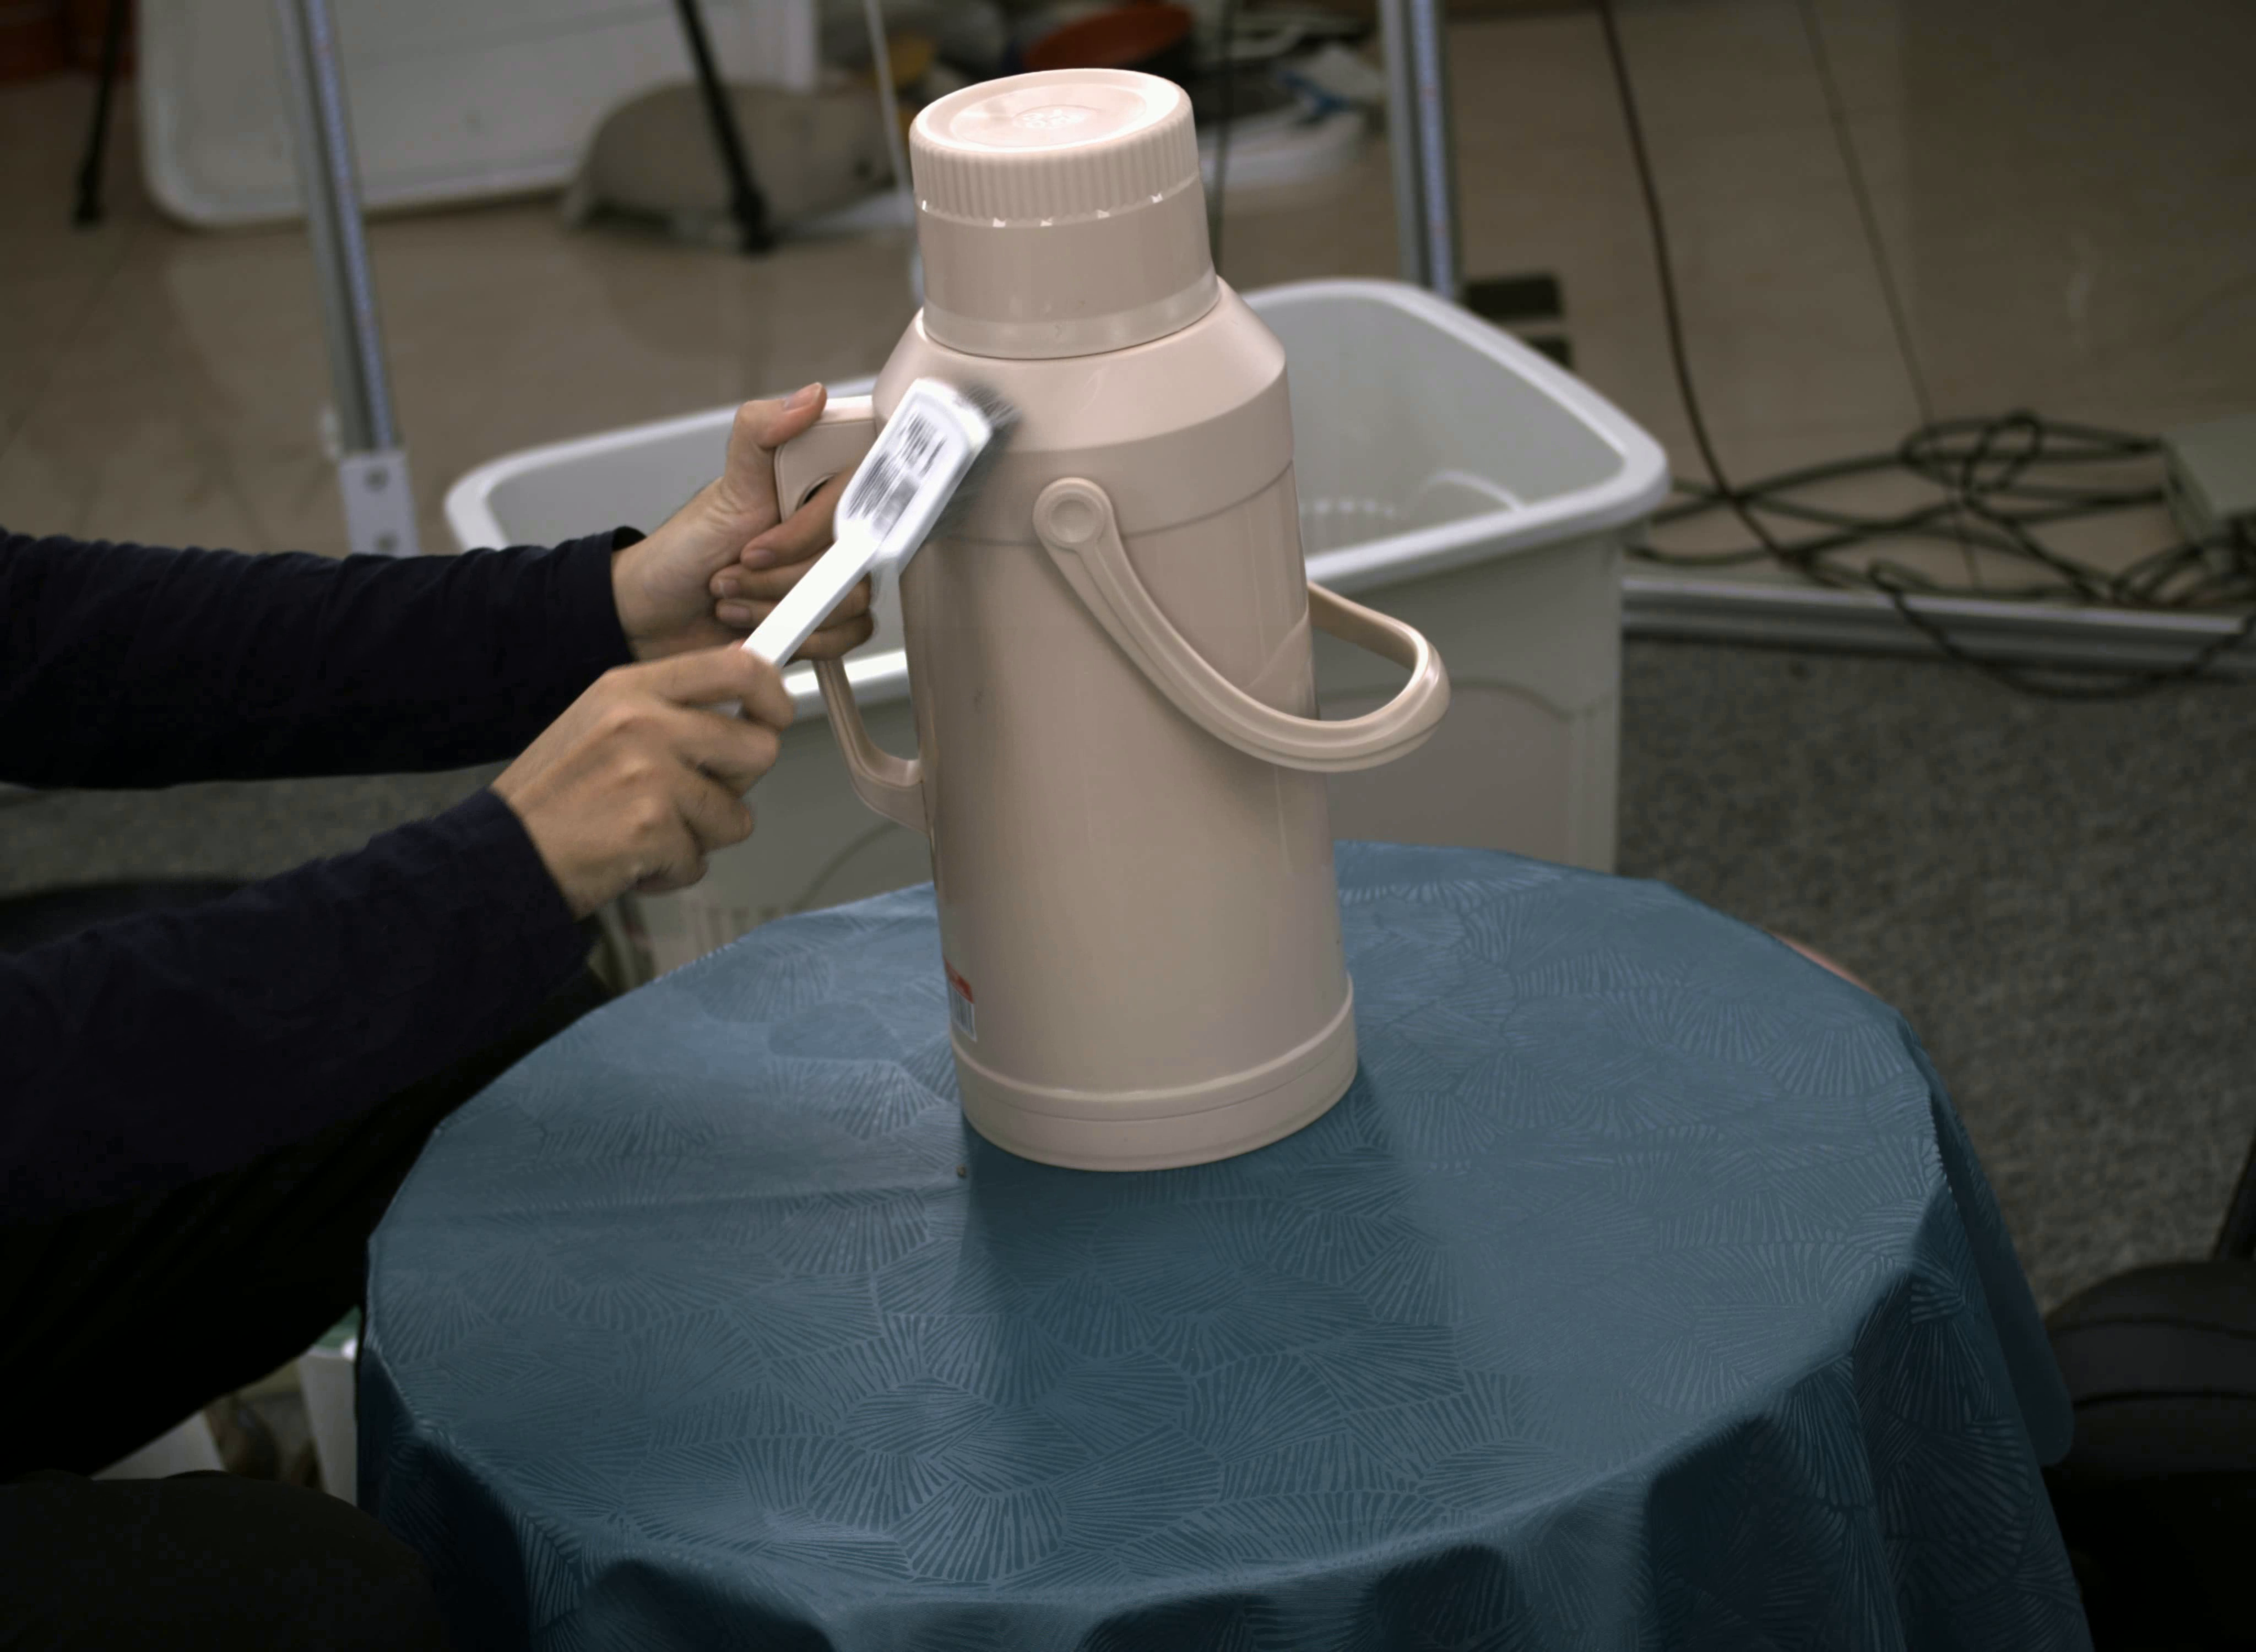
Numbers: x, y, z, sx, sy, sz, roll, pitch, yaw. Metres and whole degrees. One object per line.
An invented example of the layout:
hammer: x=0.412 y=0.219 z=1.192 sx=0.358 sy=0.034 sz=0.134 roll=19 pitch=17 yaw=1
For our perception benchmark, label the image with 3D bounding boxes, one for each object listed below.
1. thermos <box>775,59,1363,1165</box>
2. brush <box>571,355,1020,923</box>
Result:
thermos: x=-0.021 y=-0.081 z=2.148 sx=0.207 sy=0.413 sz=0.172 roll=-5 pitch=28 yaw=4
brush: x=-0.120 y=-0.066 z=2.038 sx=0.034 sy=0.244 sz=0.050 roll=37 pitch=7 yaw=11
